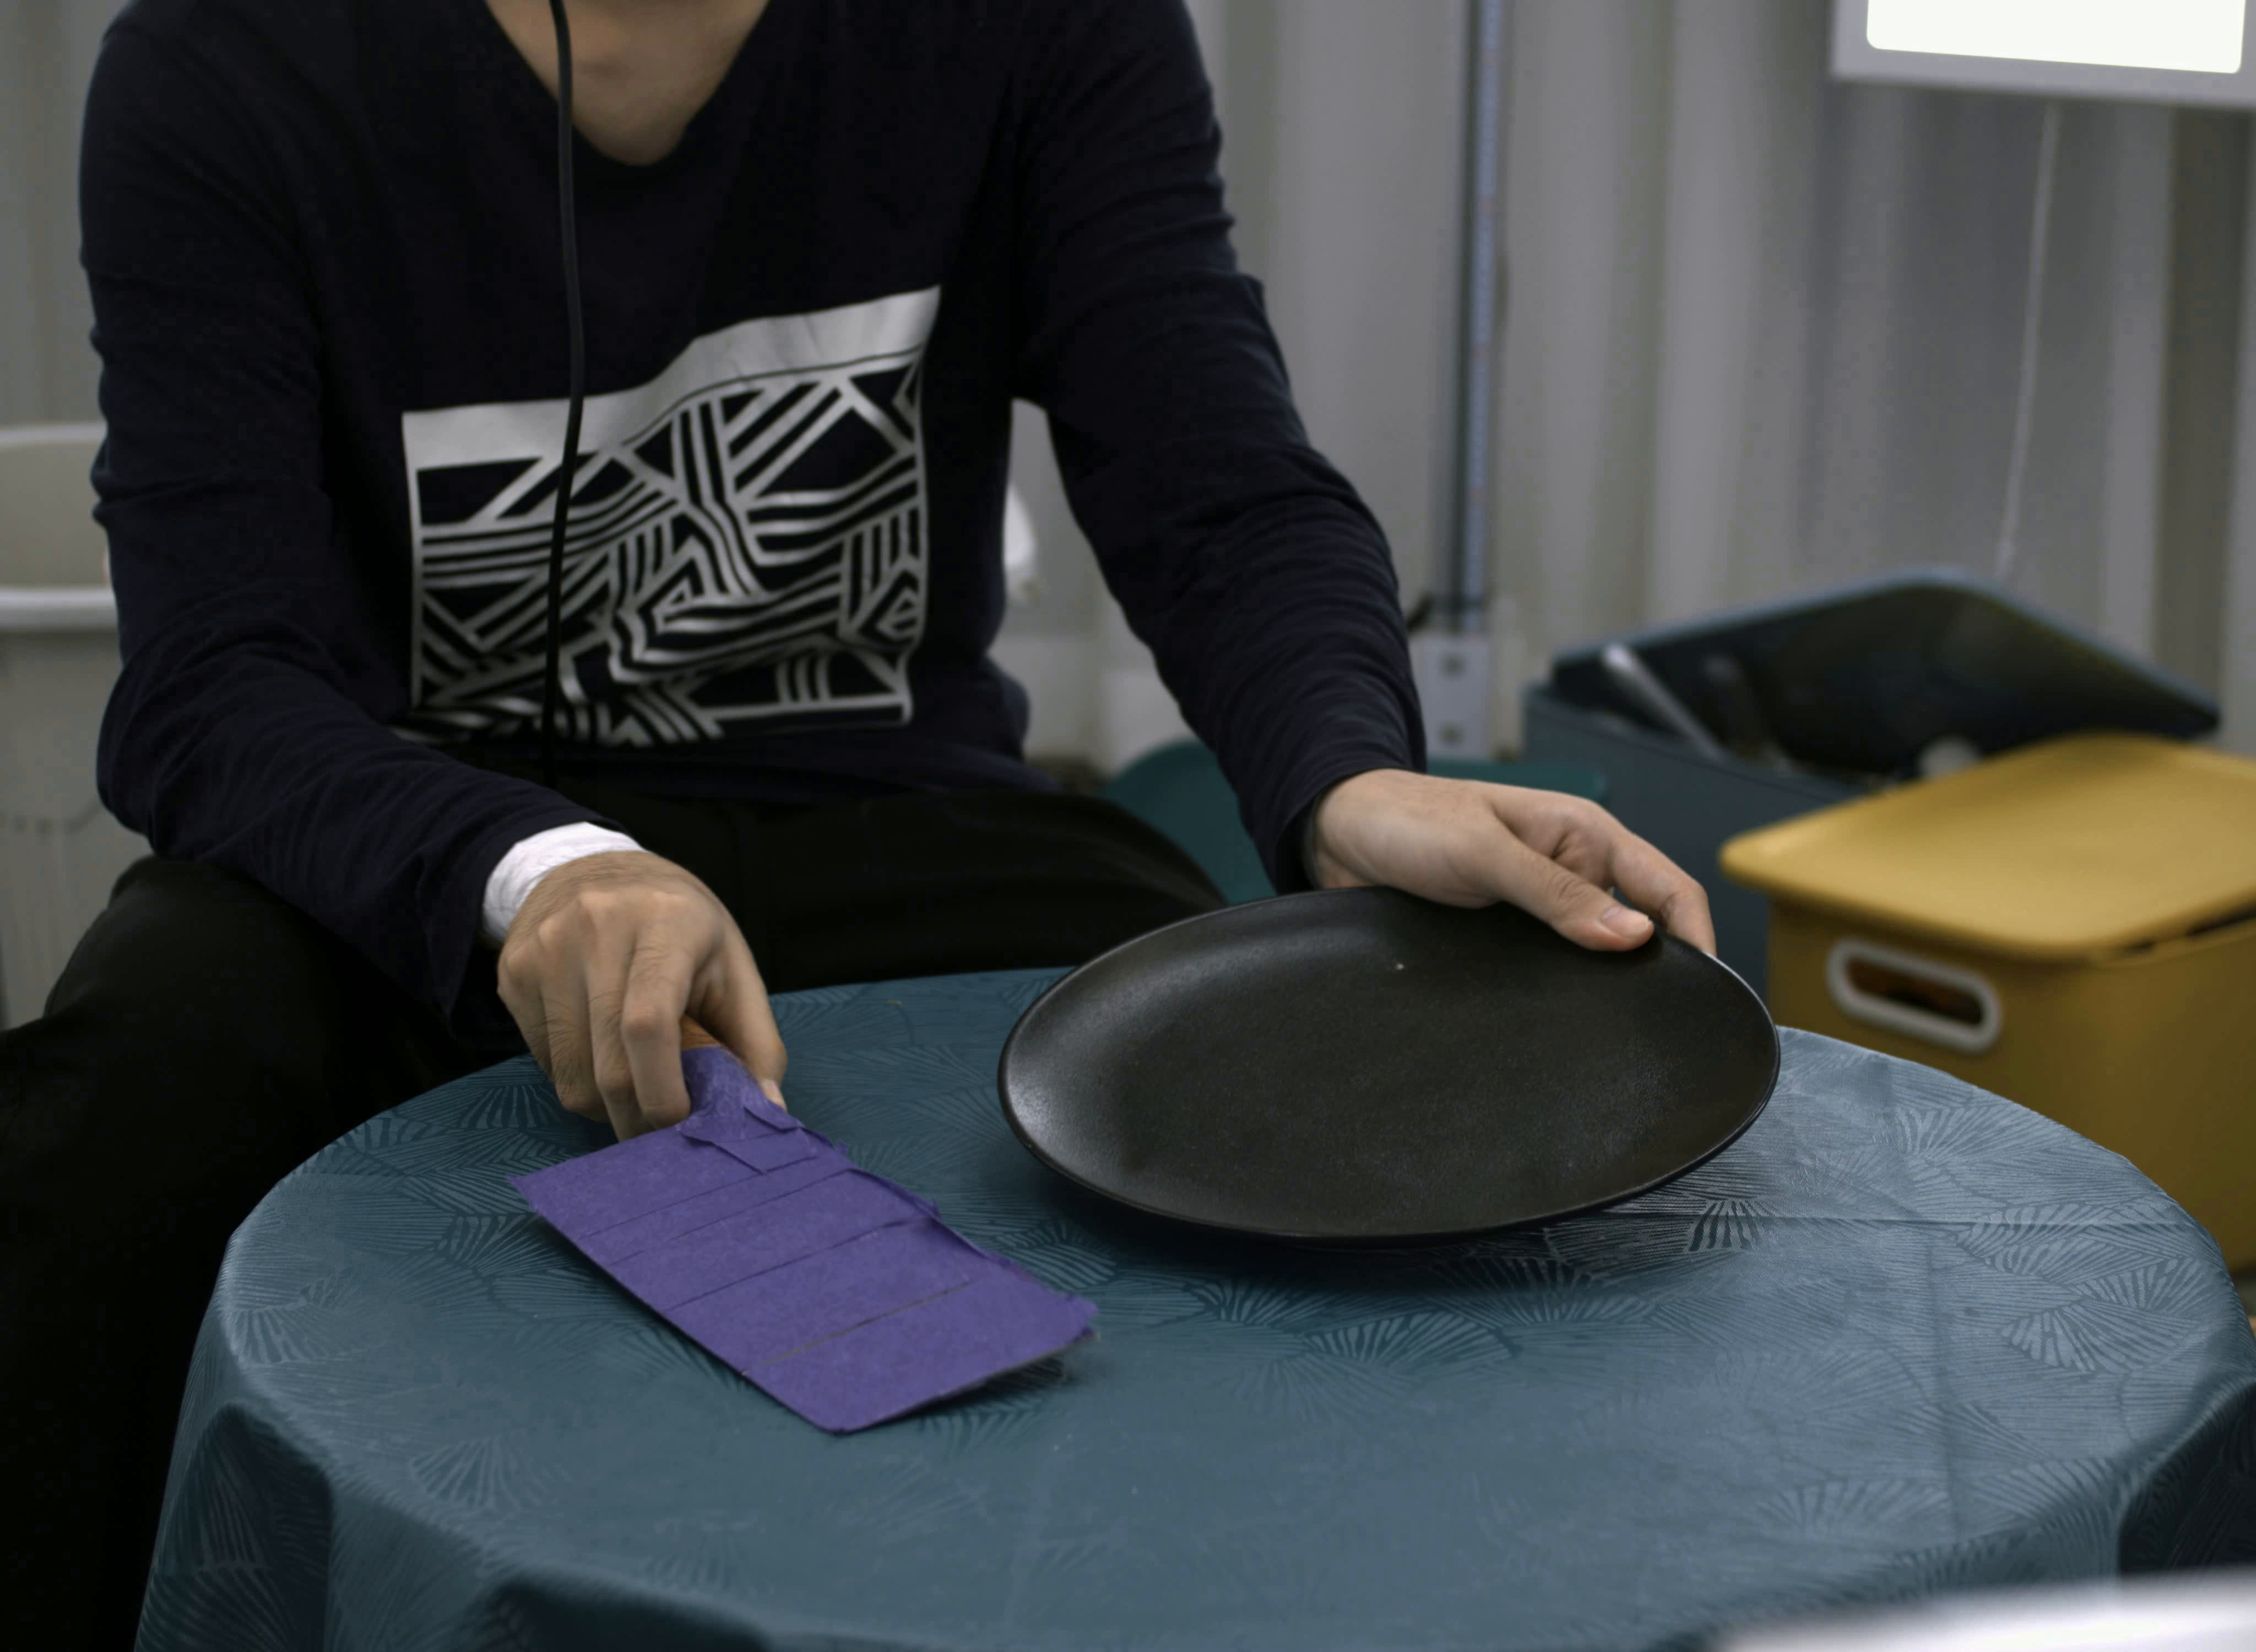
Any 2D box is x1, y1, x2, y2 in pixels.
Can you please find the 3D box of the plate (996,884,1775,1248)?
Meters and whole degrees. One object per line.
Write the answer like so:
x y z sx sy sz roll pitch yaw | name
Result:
0.080 0.078 1.644 0.243 0.024 0.242 -3 25 2 | plate

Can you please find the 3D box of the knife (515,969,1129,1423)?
-0.124 0.106 1.567 0.104 0.032 0.311 -19 24 -28 | knife
